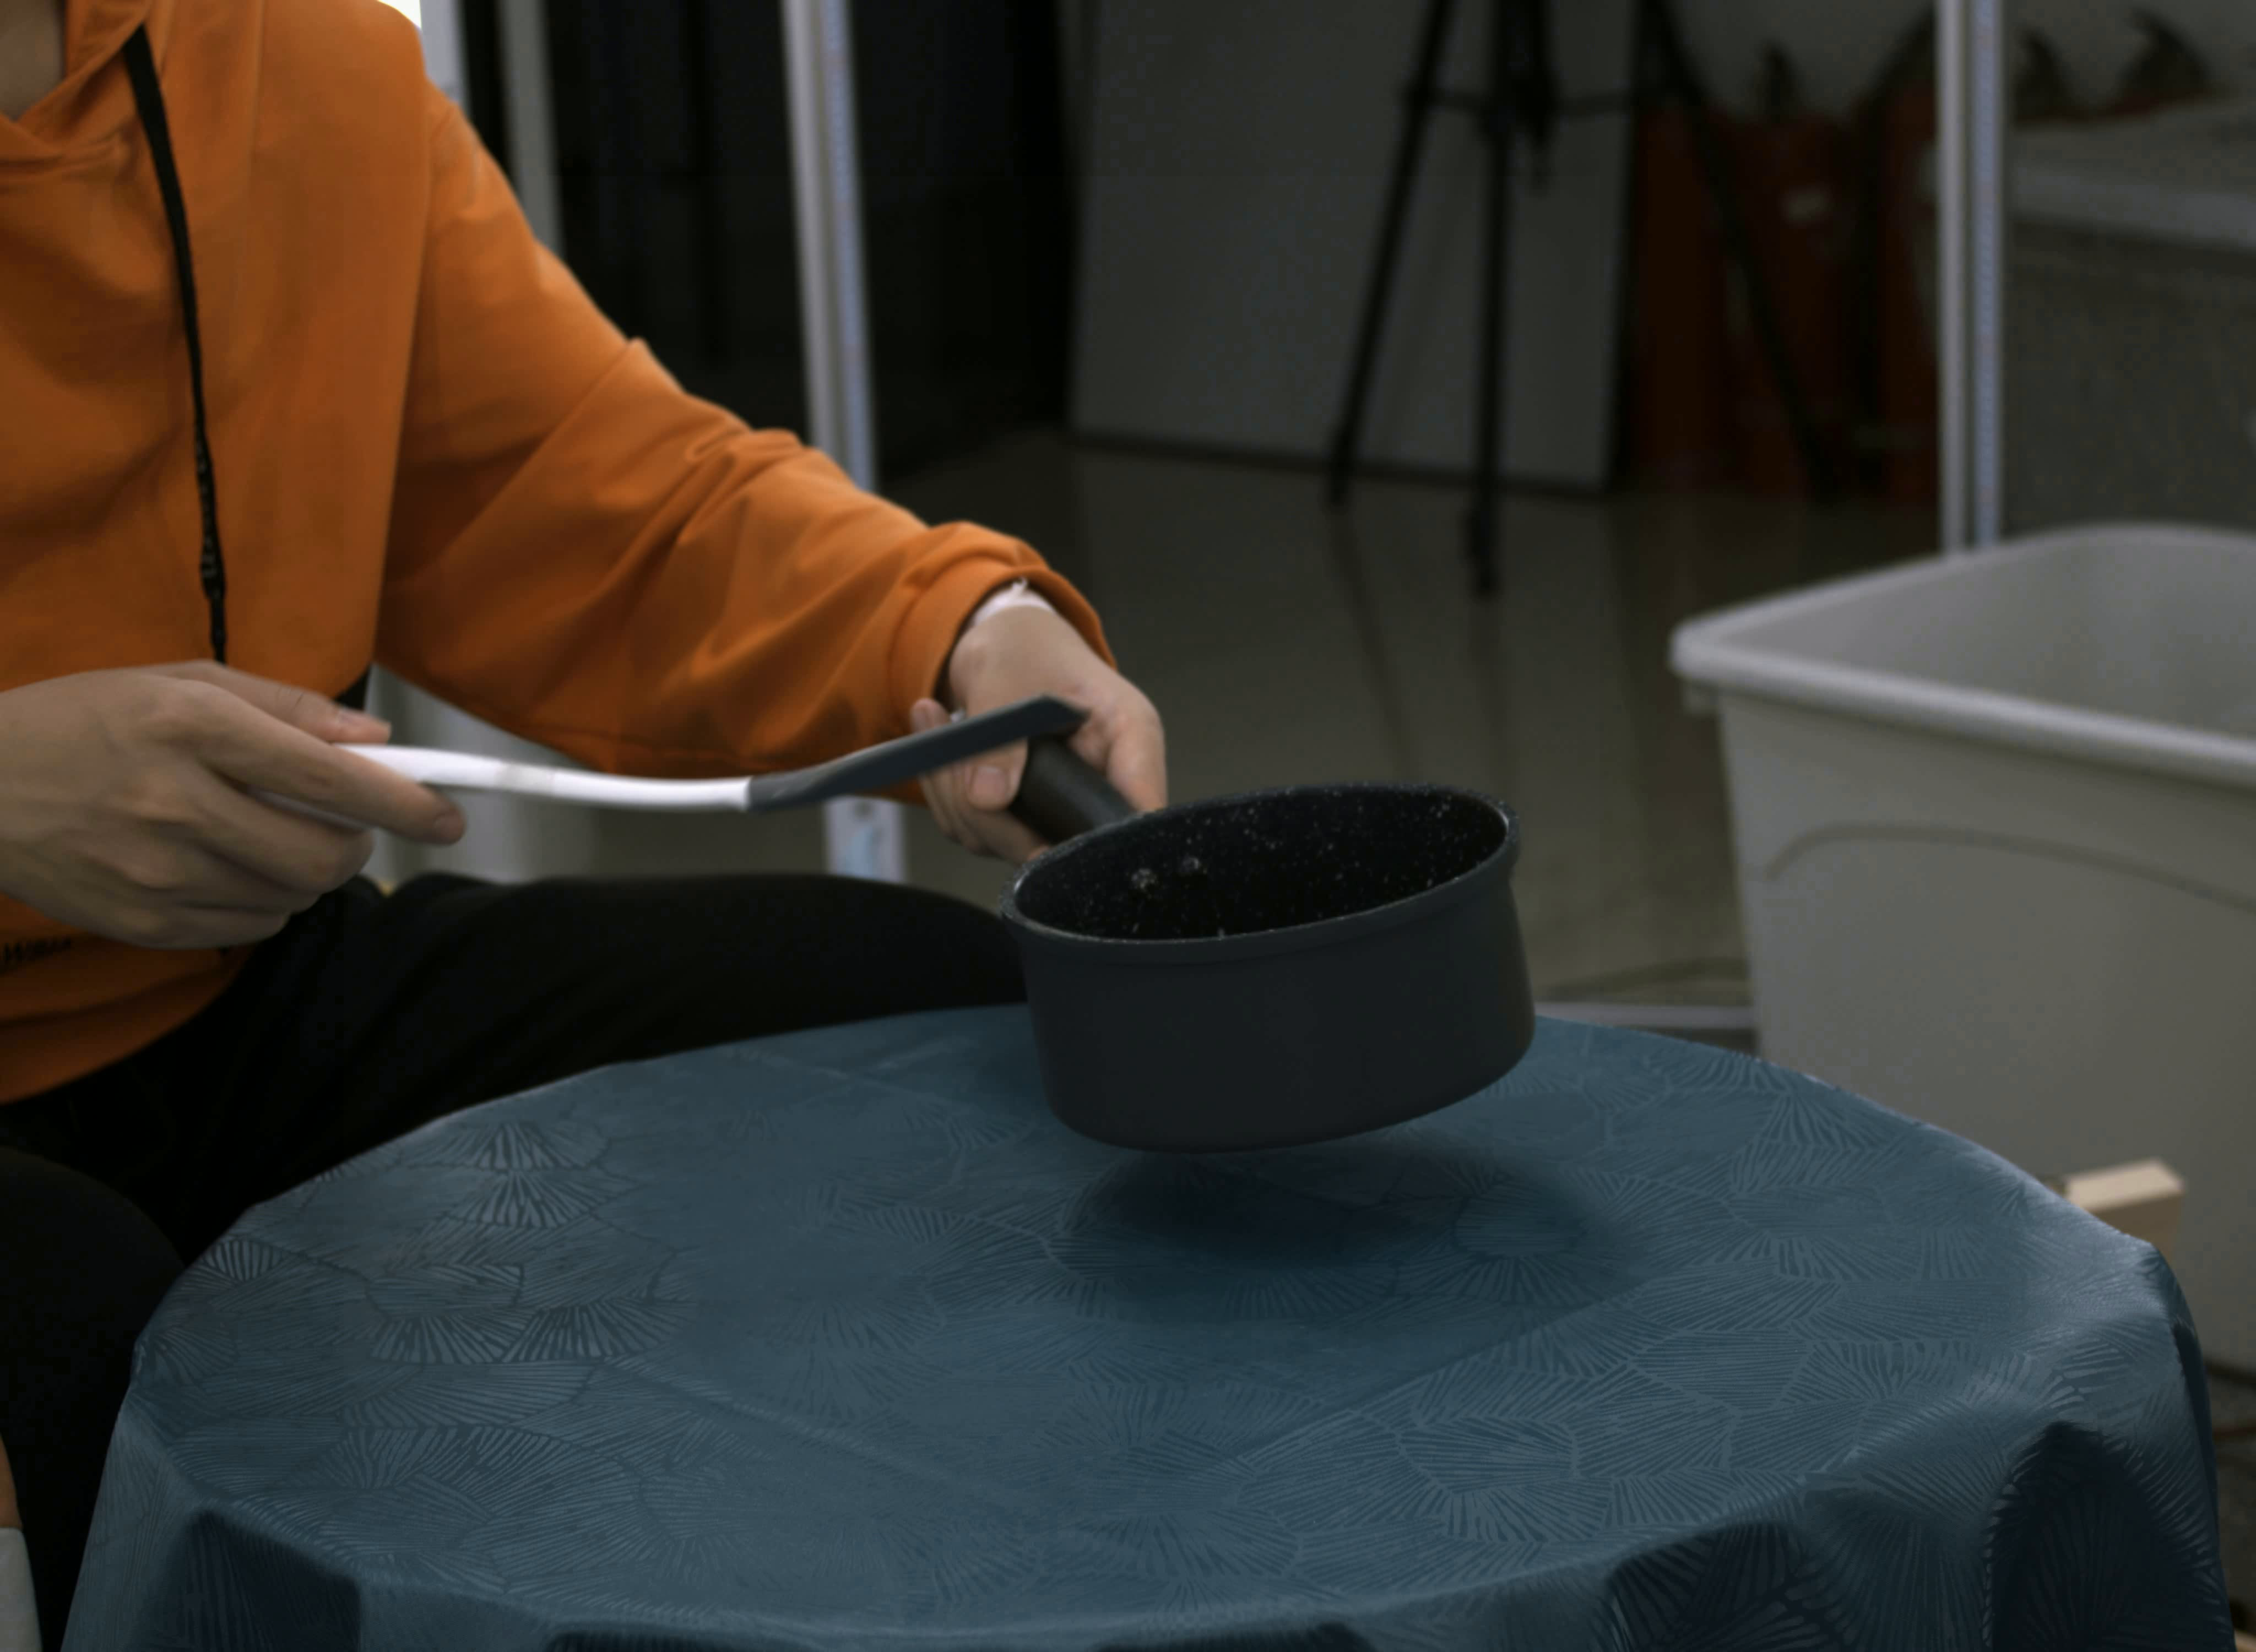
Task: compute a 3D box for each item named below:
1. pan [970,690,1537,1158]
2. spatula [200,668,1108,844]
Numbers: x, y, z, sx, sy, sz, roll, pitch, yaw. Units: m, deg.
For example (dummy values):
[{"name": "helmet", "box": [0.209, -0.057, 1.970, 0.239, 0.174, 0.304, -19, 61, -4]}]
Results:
[{"name": "pan", "box": [0.018, 0.027, 1.814, 0.168, 0.087, 0.332, -14, 16, -18]}, {"name": "spatula", "box": [-0.146, -0.023, 1.663, 0.286, 0.032, 0.058, -6, -8, 14]}]
